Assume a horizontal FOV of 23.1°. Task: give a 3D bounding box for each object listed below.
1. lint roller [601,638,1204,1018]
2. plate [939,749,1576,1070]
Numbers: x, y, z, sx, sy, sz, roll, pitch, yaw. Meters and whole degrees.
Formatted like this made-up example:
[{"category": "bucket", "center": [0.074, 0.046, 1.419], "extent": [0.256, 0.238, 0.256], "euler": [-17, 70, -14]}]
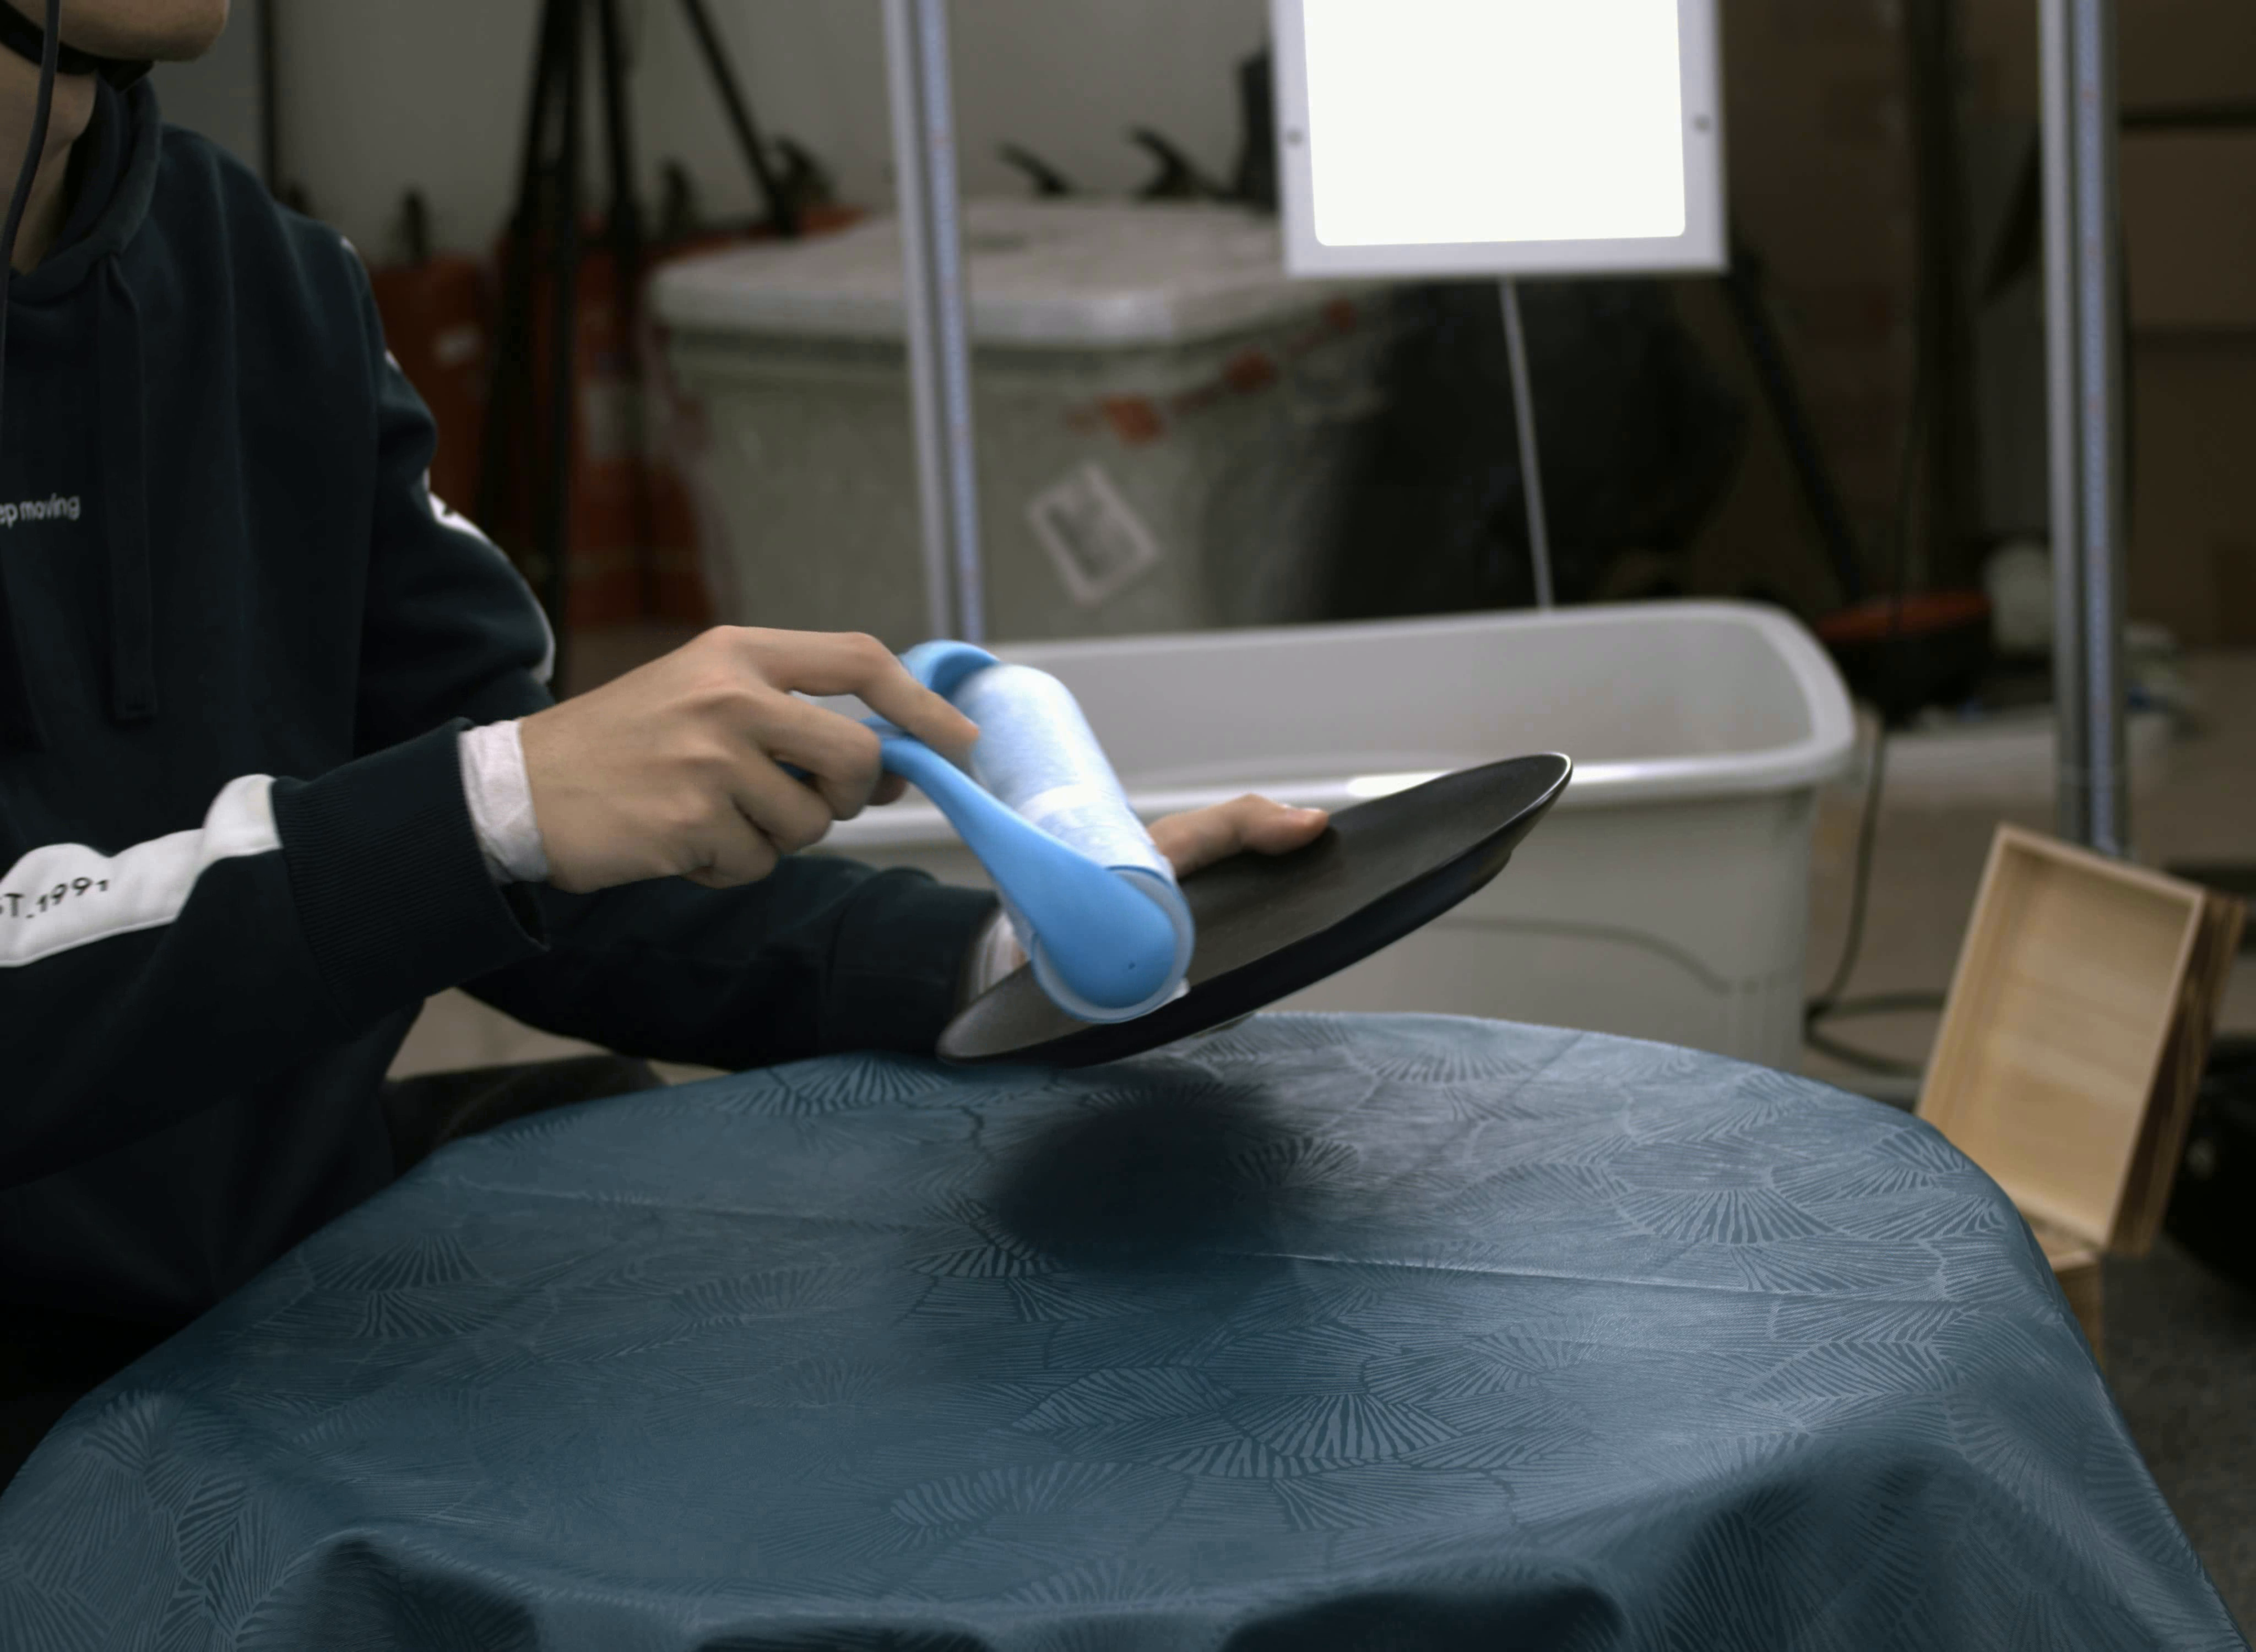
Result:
[{"category": "lint roller", "center": [-0.080, -0.002, 1.800], "extent": [0.177, 0.068, 0.230], "euler": [1, 22, -15]}, {"category": "plate", "center": [0.049, 0.035, 1.906], "extent": [0.244, 0.023, 0.244], "euler": [-25, 7, 1]}]
